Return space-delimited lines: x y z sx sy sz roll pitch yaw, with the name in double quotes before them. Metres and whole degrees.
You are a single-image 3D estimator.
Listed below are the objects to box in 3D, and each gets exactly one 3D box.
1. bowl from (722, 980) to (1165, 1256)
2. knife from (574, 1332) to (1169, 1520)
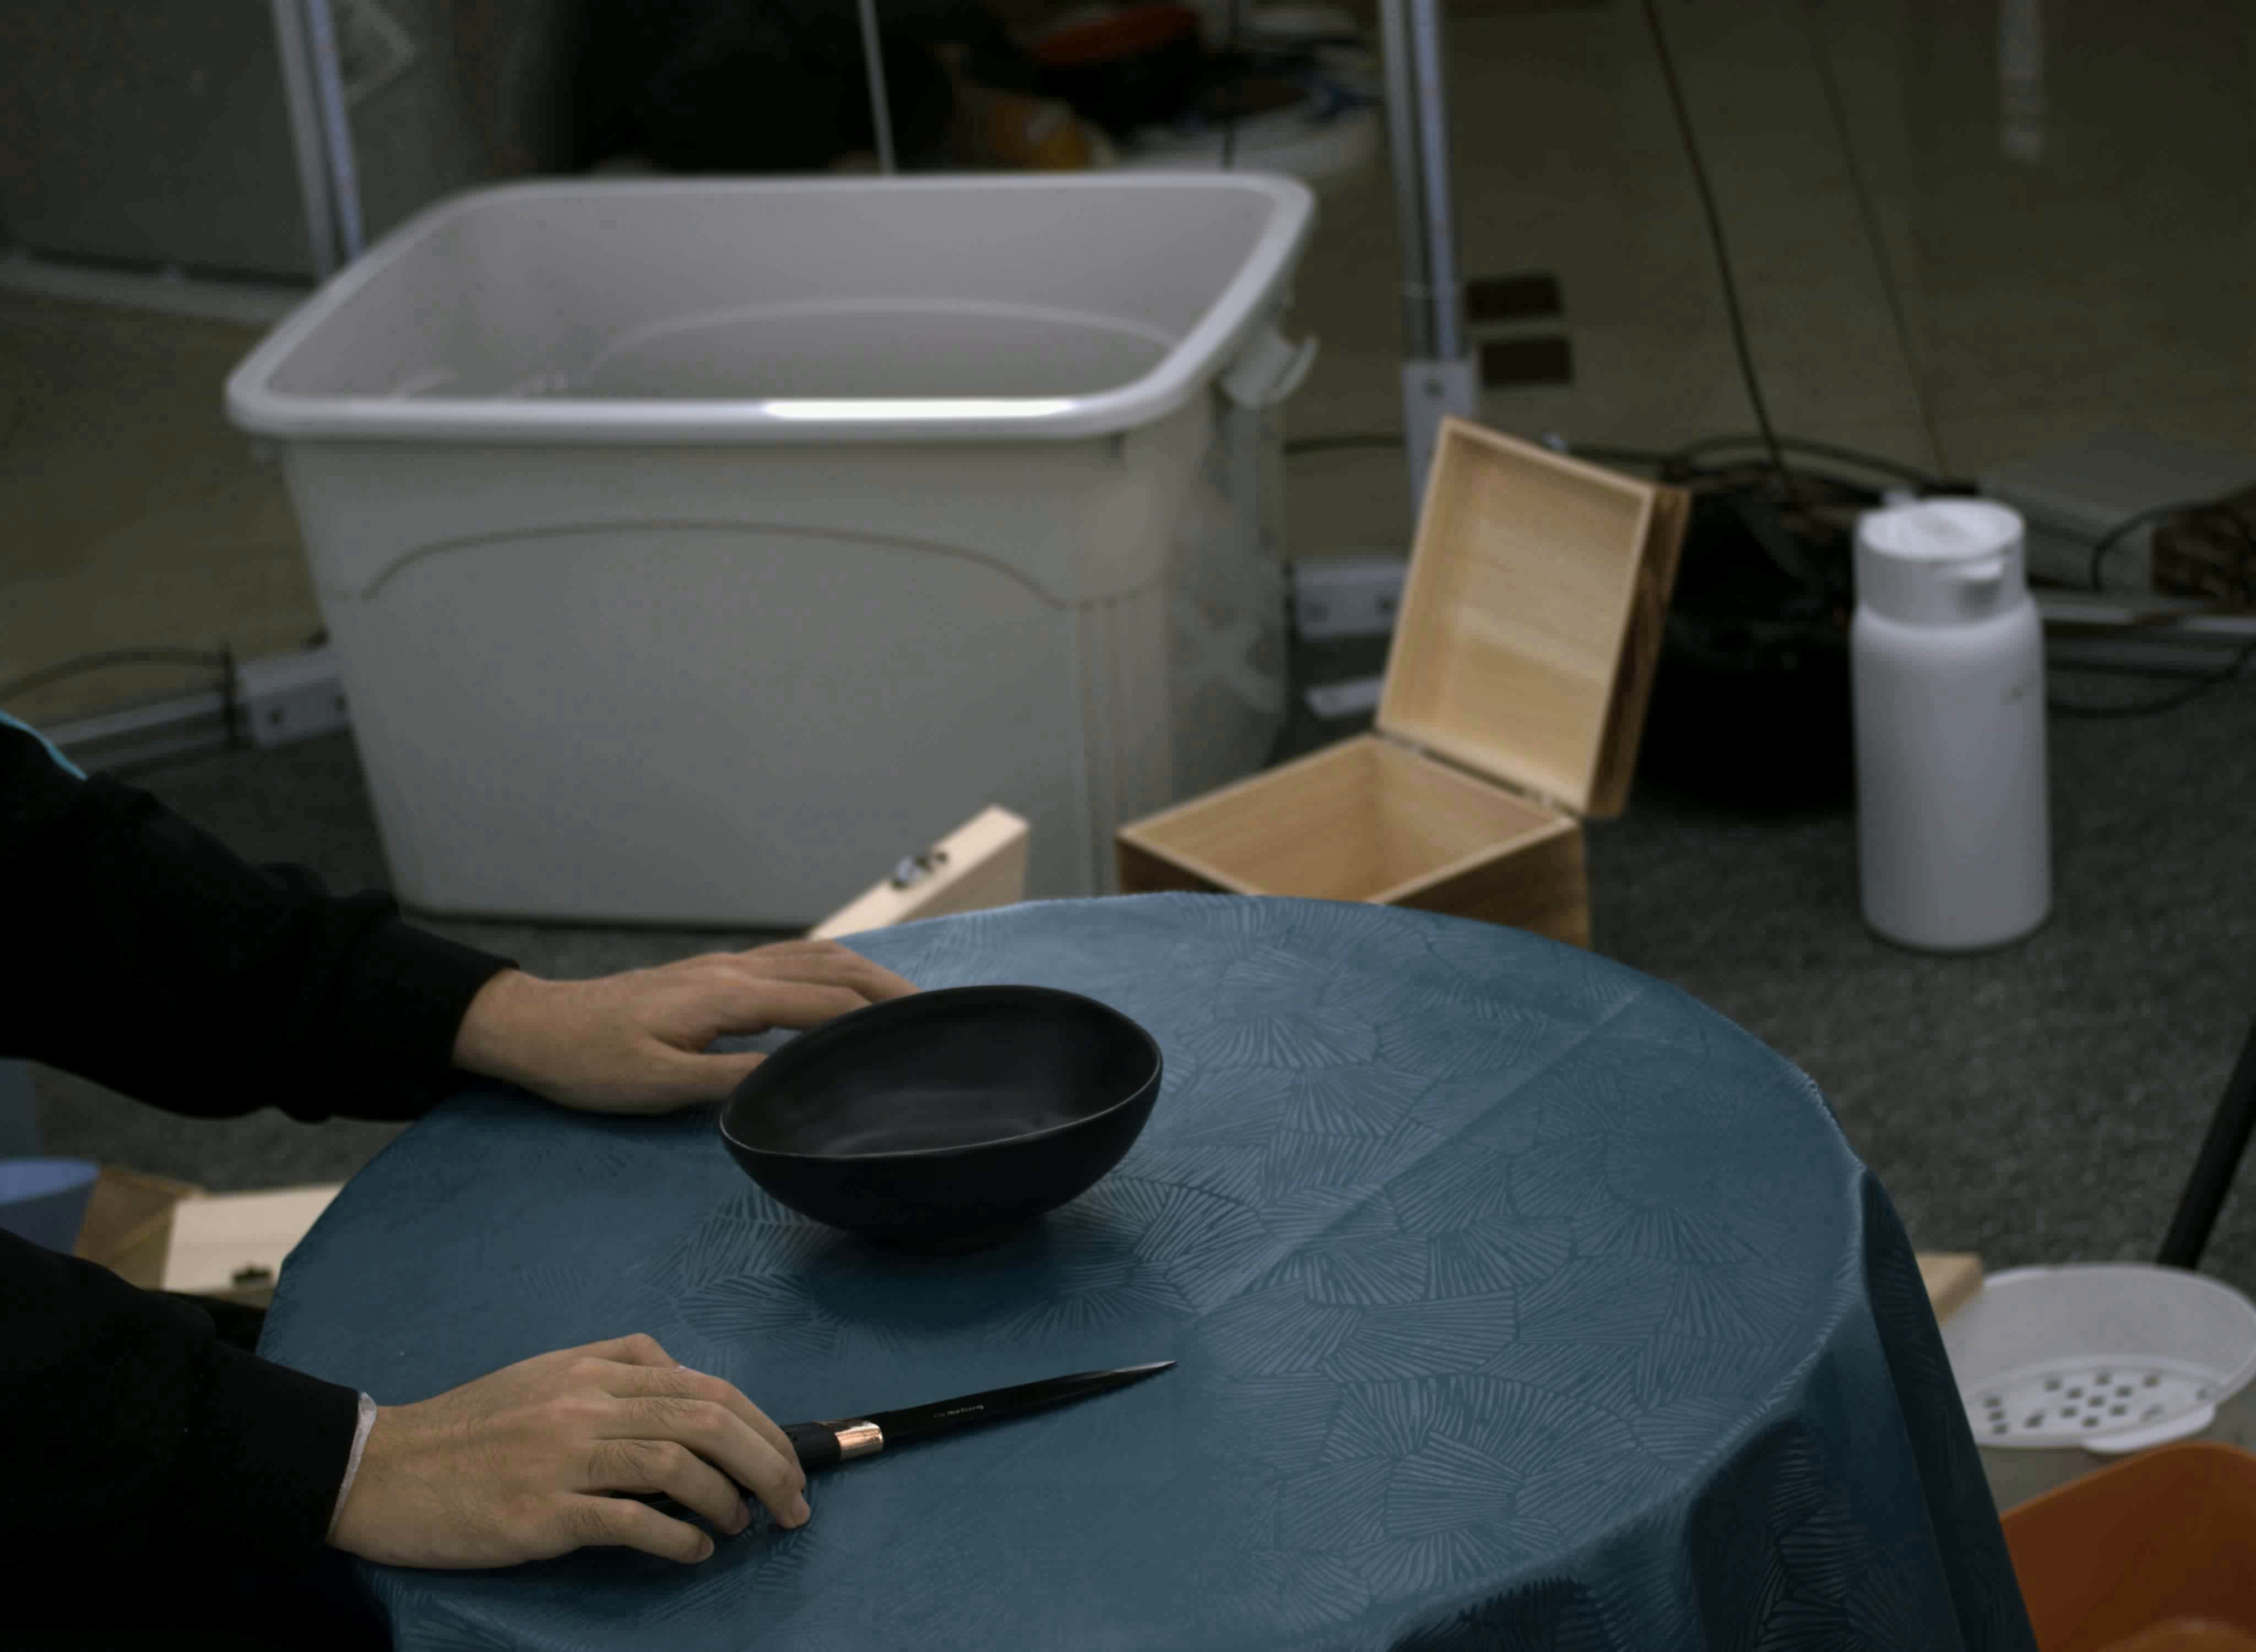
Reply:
"bowl" -0.067 0.119 2.130 0.170 0.068 0.135 -8 24 3
"knife" -0.089 0.210 2.003 0.225 0.017 0.026 -13 28 -16
